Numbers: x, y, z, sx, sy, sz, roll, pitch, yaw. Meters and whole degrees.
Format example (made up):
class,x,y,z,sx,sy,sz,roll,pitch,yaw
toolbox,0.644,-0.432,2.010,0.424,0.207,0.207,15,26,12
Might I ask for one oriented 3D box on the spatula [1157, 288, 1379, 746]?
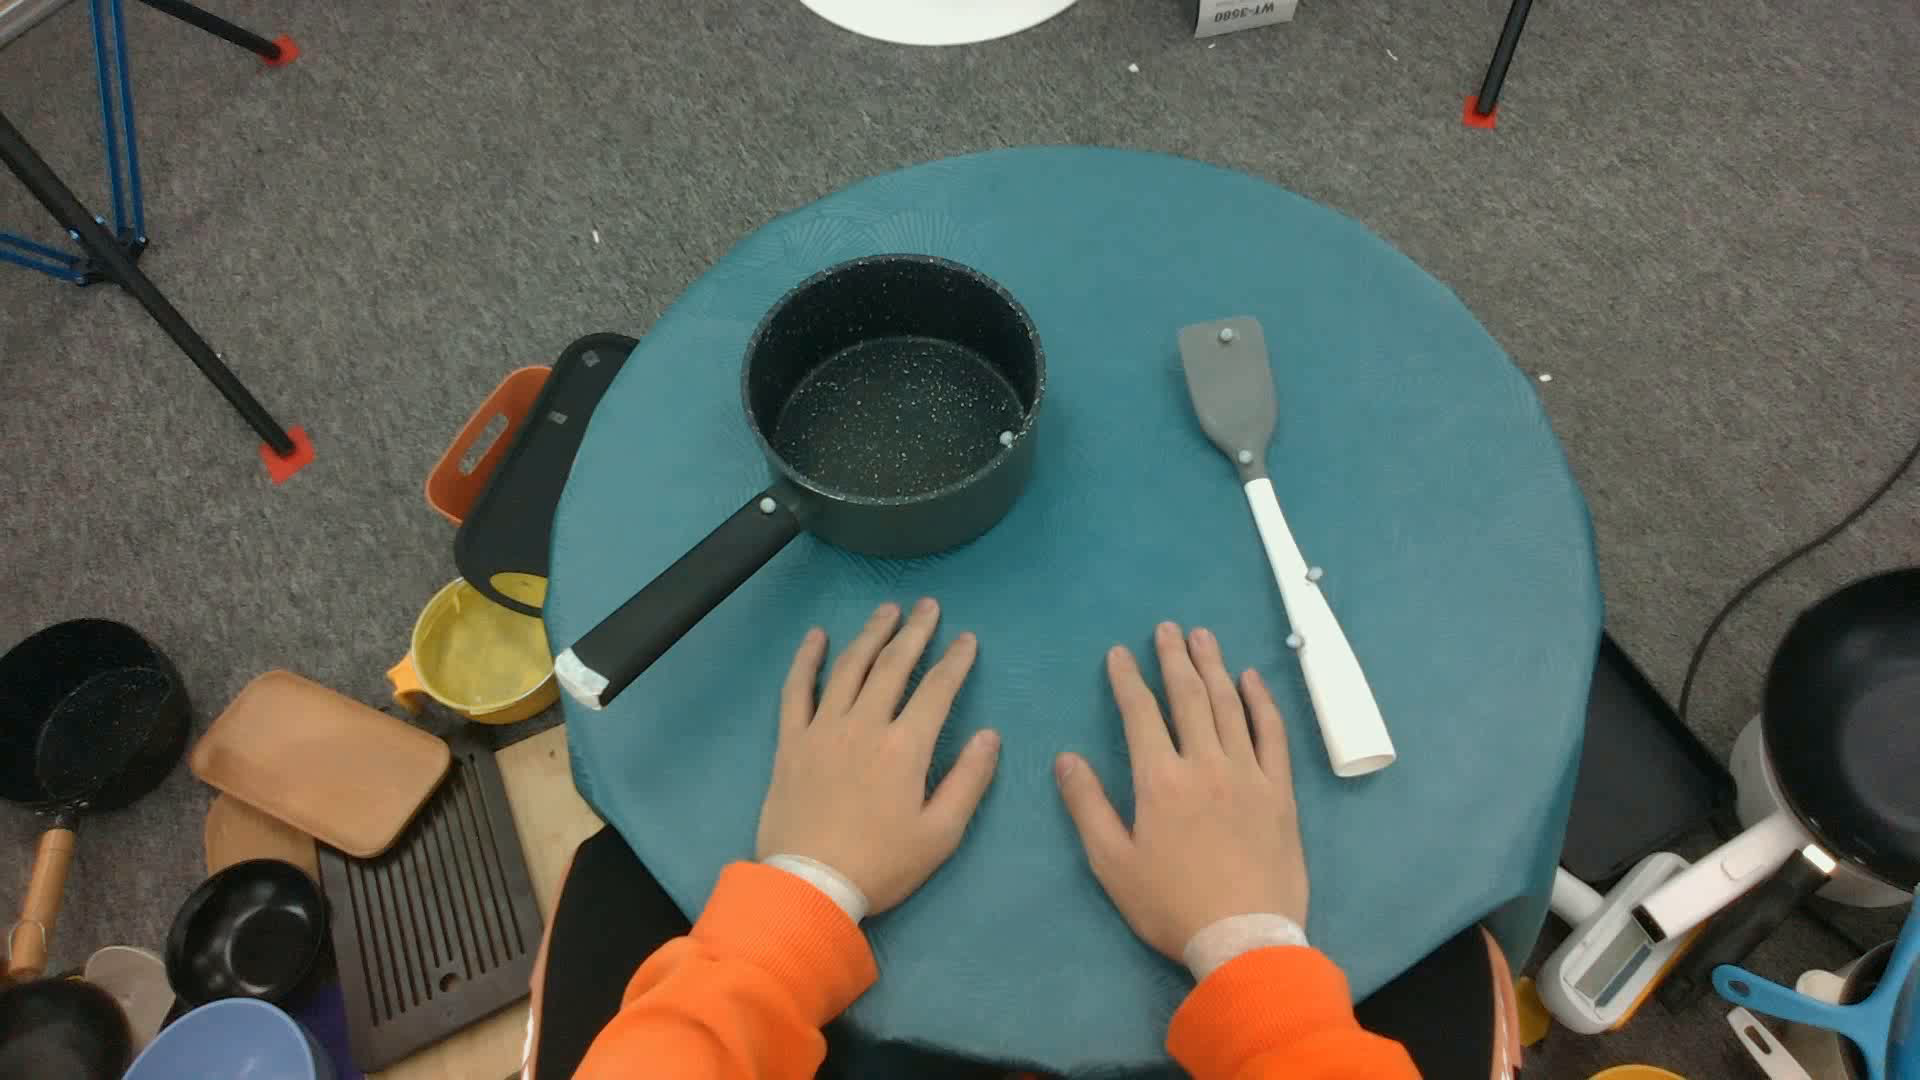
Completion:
class,x,y,z,sx,sy,sz,roll,pitch,yaw
spatula,0.173,-0.023,0.781,0.058,0.032,0.288,-13,62,0

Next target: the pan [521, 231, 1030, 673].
class,x,y,z,sx,sy,sz,roll,pitch,yaw
pan,-0.098,-0.035,0.764,0.172,0.086,0.330,36,66,20
